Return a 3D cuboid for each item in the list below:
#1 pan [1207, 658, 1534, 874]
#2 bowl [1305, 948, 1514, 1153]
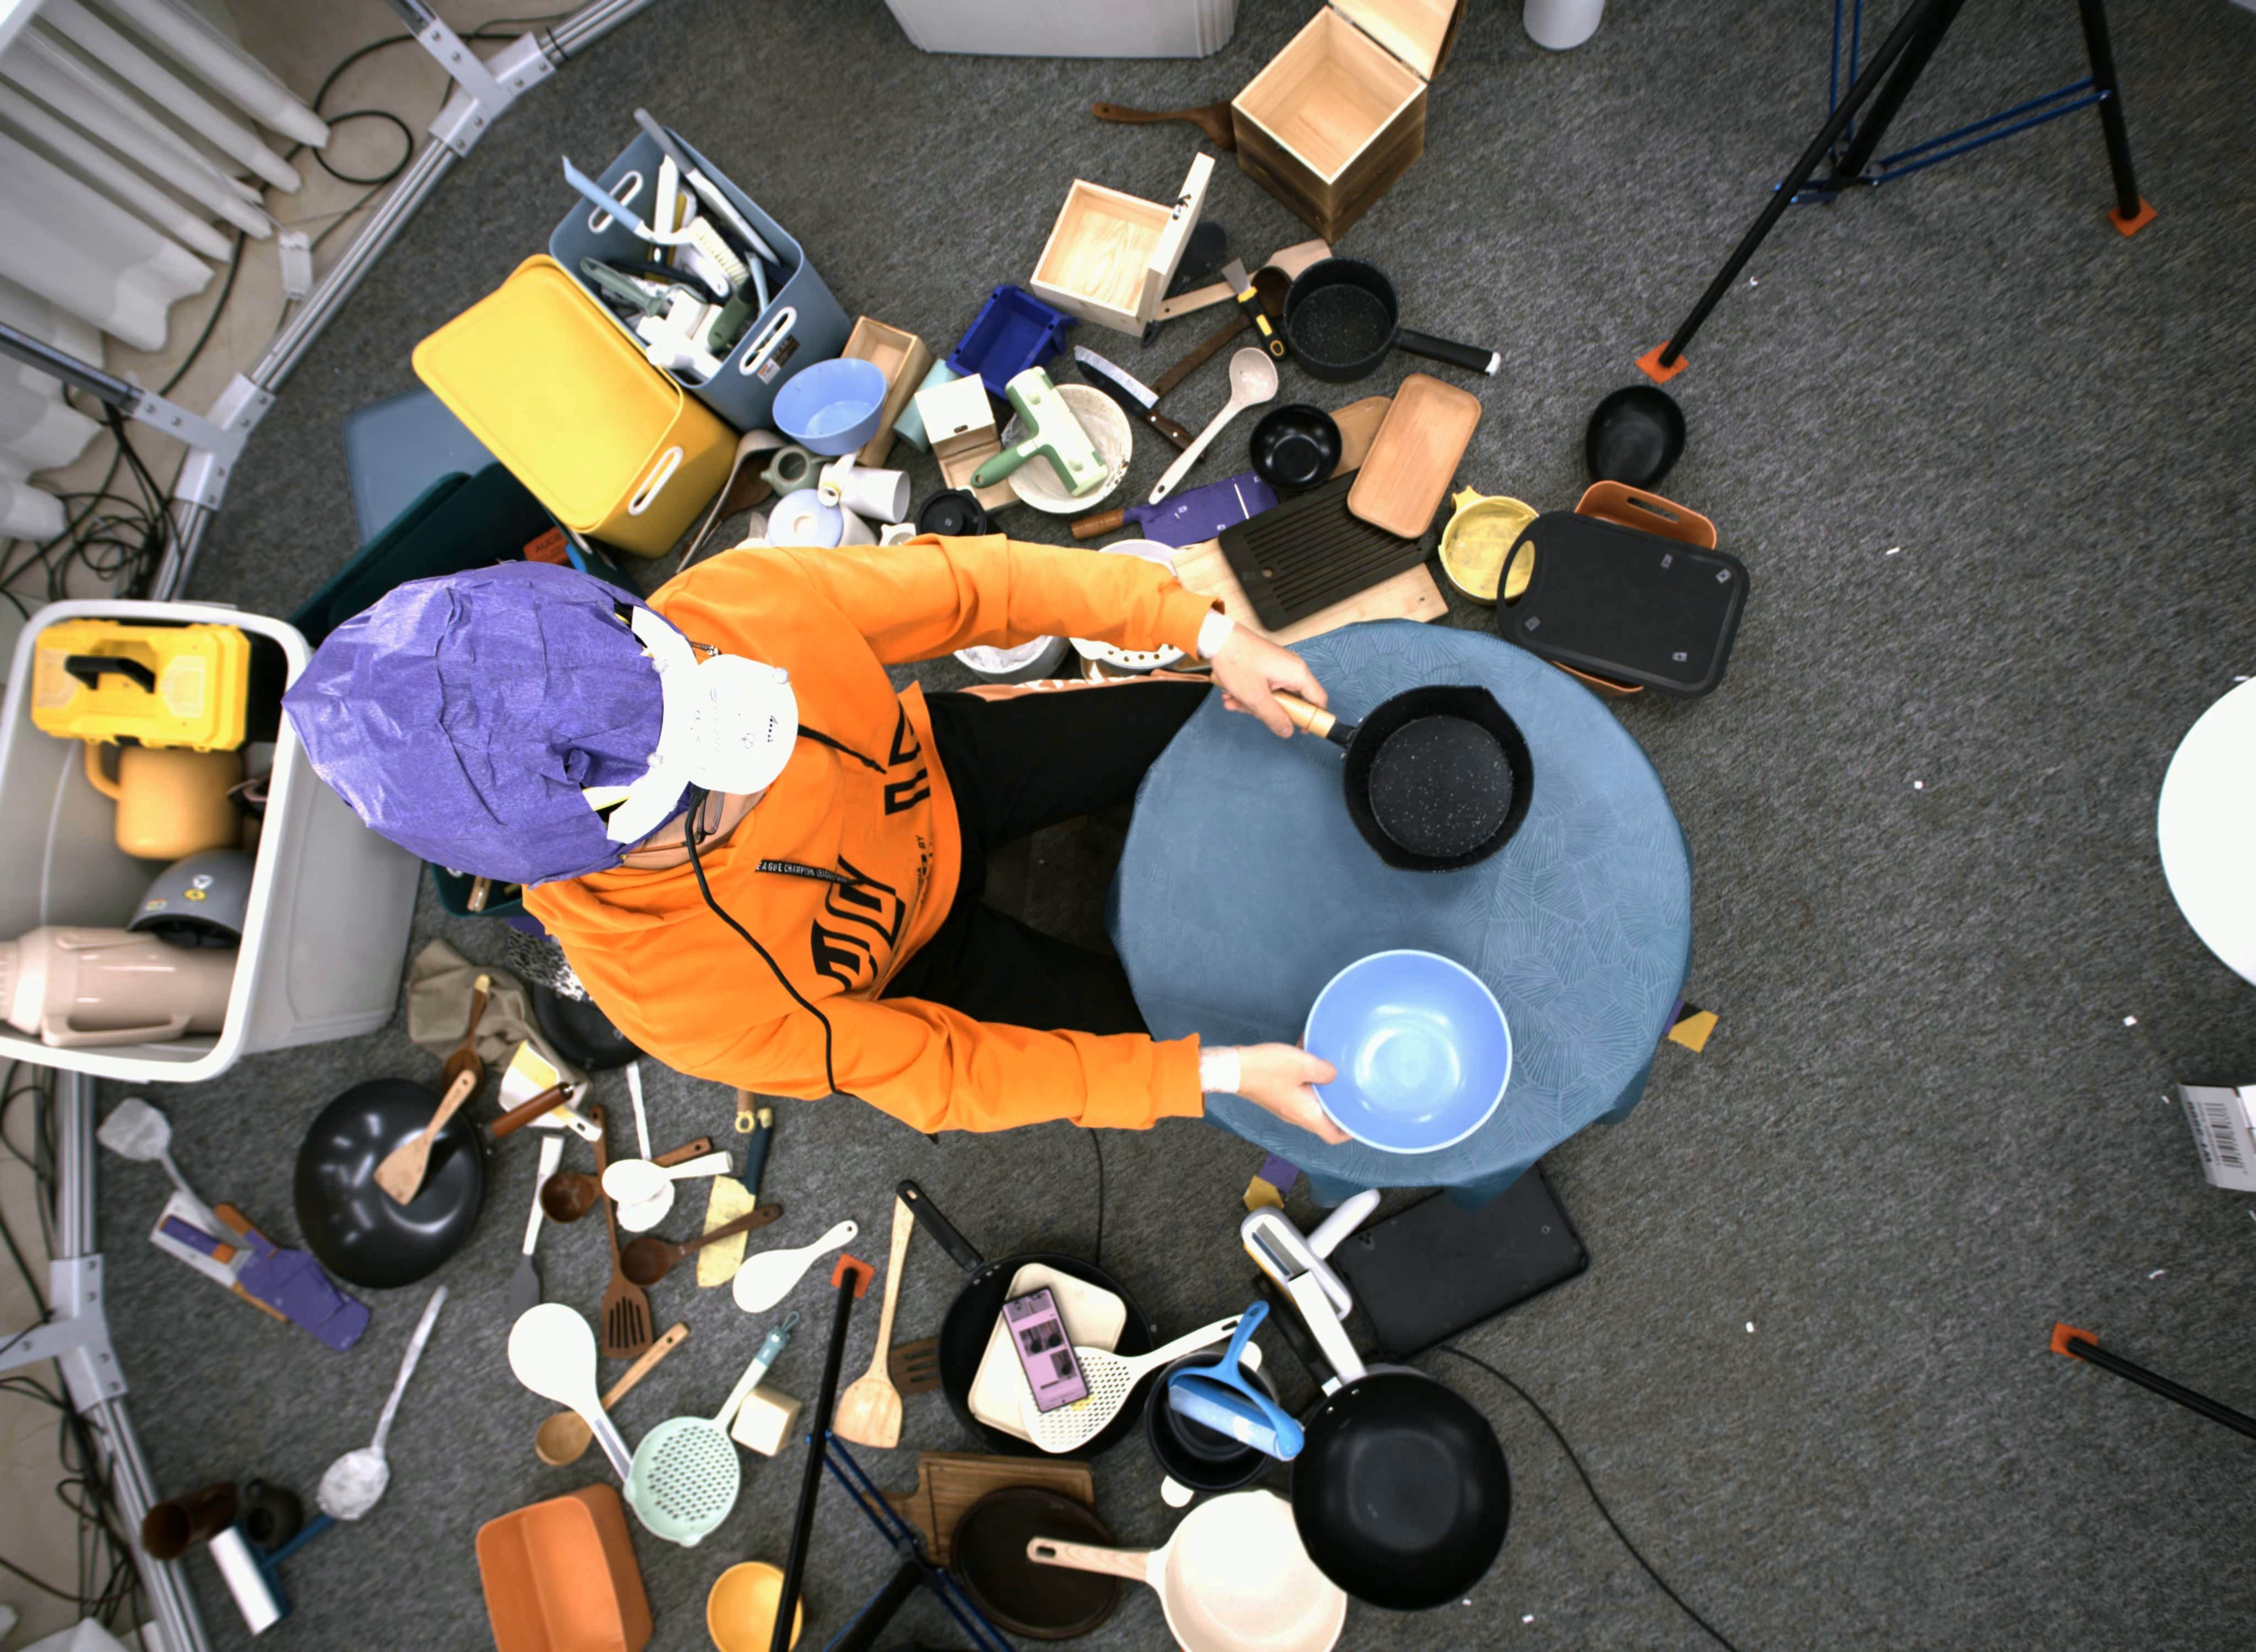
[{"bbox_3d":[0.238,-0.079,1.381,0.342,0.108,0.208,26,96,13],"label":"pan"},{"bbox_3d":[0.274,0.225,1.355,0.197,0.096,0.193,-3,72,10],"label":"bowl"}]
